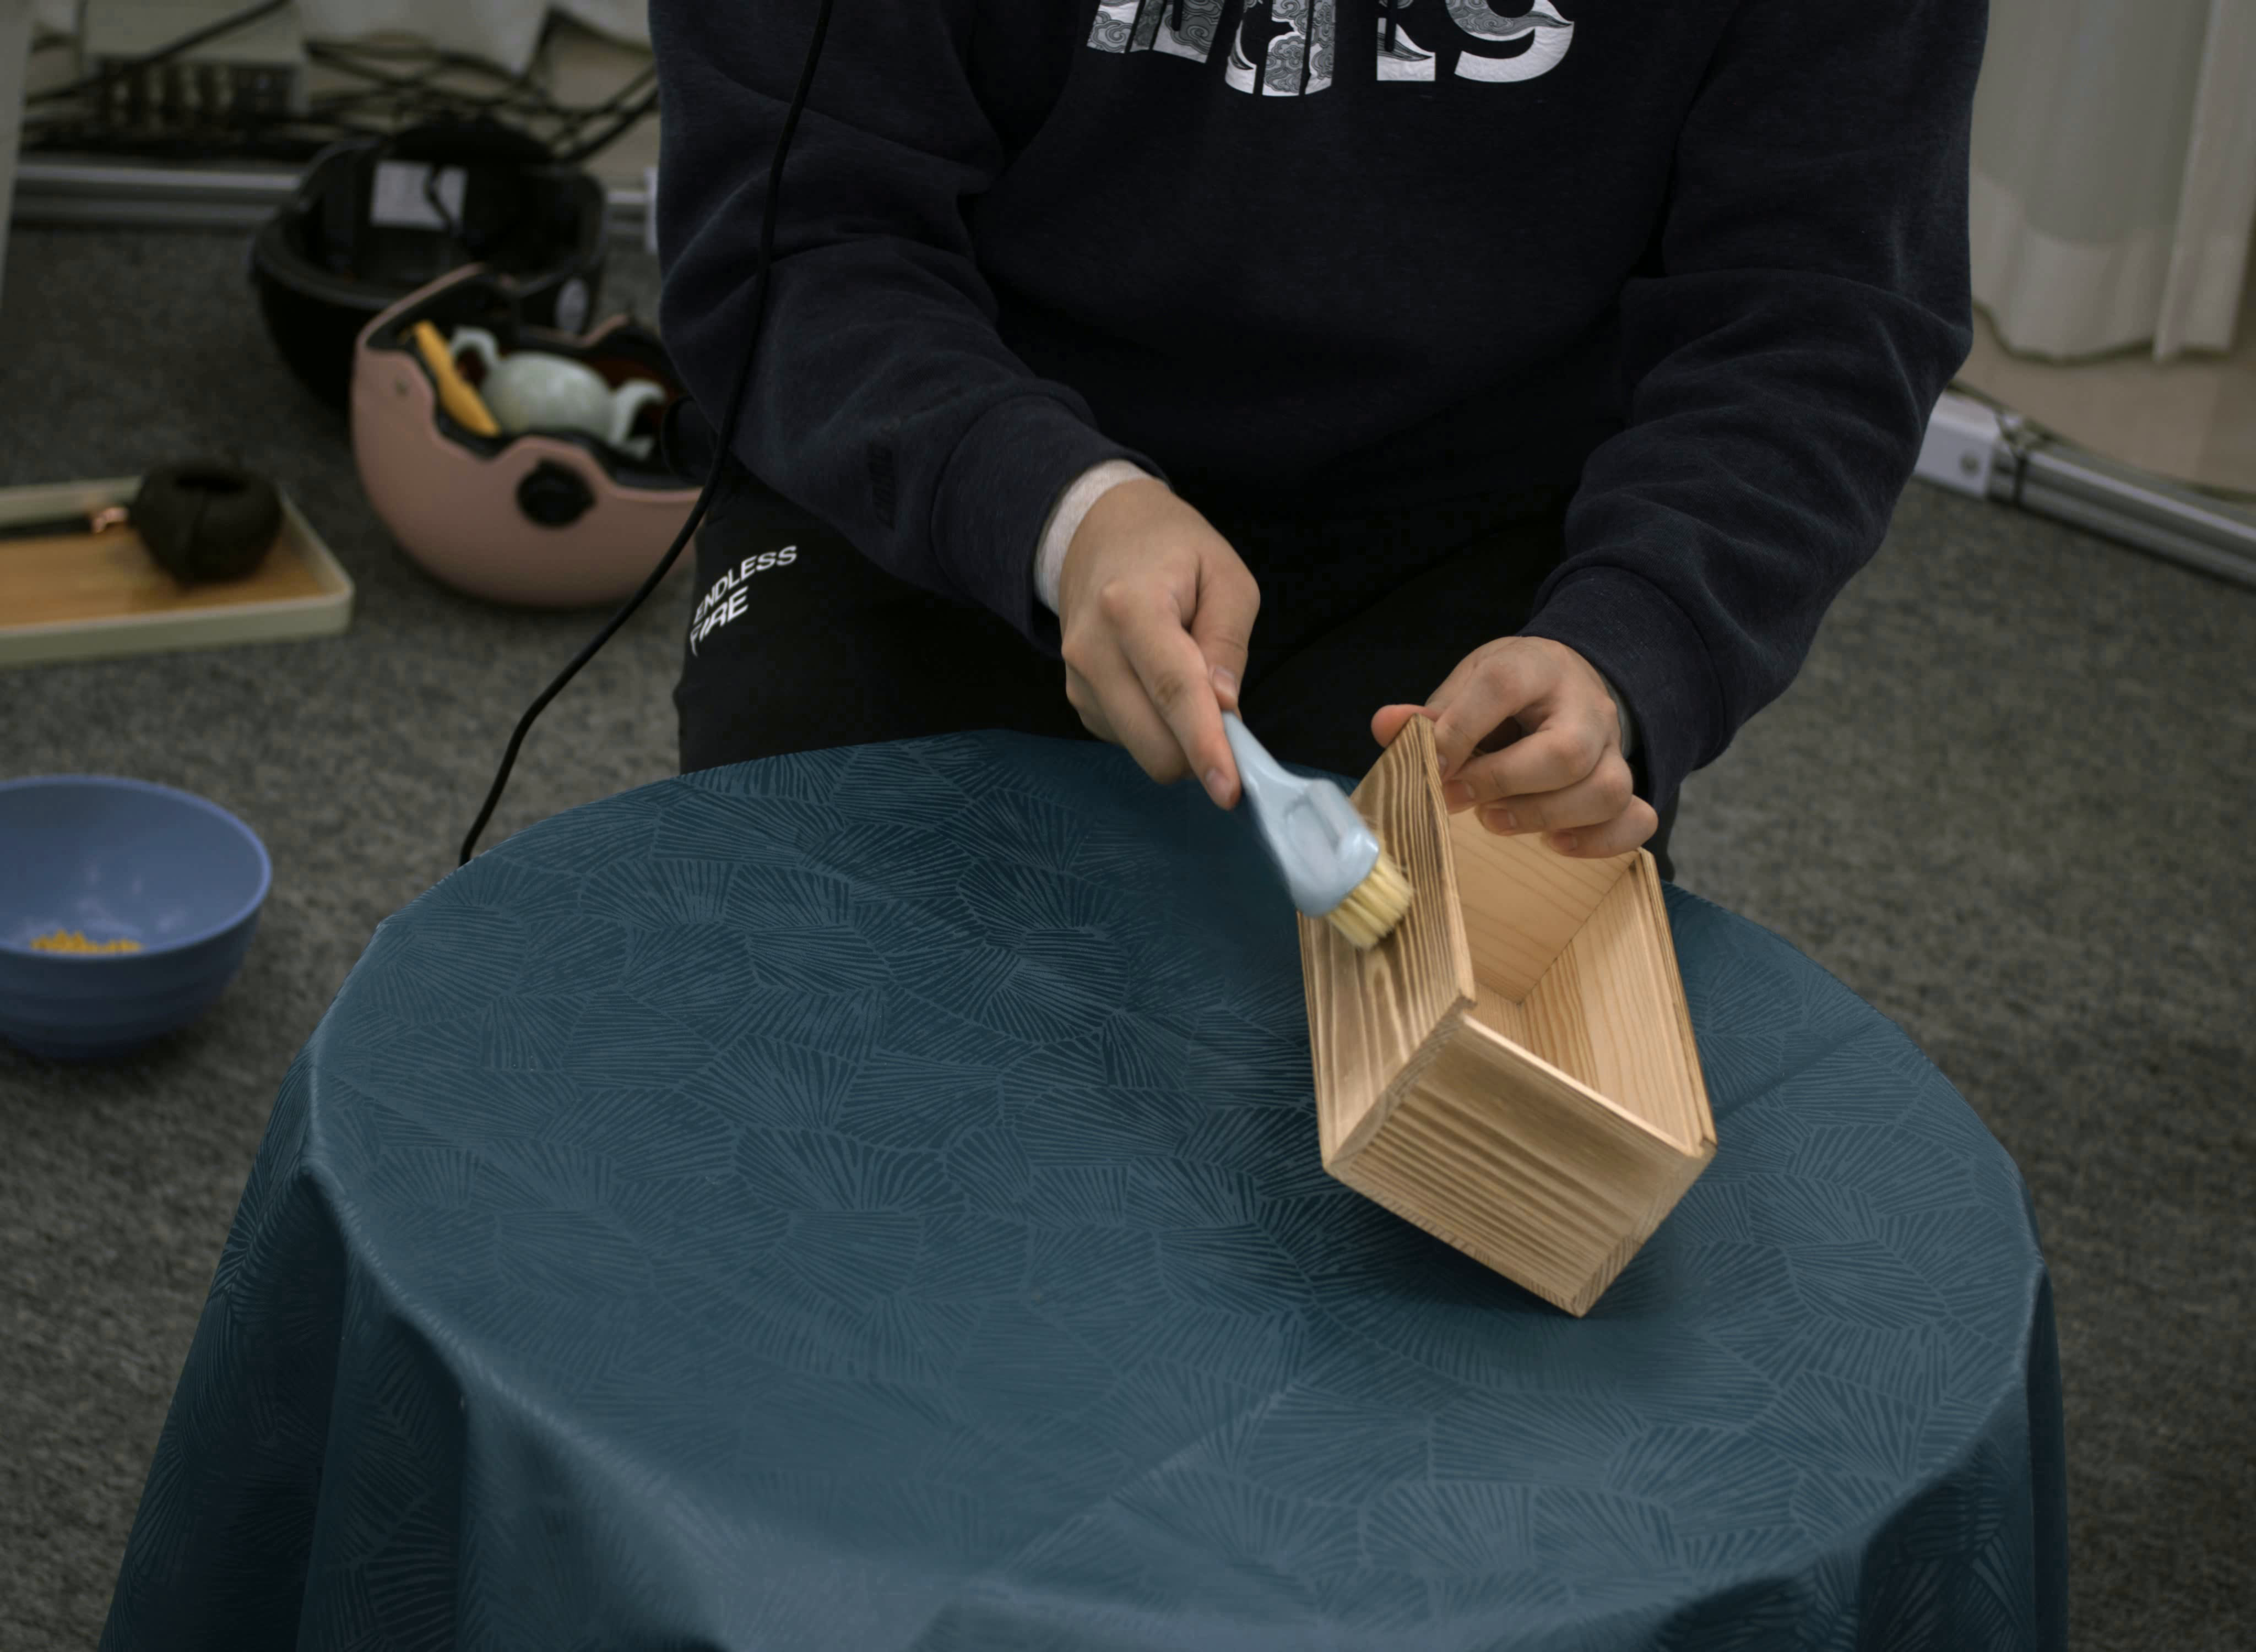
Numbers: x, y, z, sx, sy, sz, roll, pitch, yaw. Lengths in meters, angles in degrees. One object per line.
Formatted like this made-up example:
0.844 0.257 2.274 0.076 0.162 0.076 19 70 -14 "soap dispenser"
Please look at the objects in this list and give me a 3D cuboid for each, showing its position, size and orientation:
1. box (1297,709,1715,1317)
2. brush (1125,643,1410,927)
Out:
0.126 0.061 1.829 0.107 0.080 0.213 30 23 -15 "box"
0.046 -0.017 1.889 0.049 0.038 0.230 33 6 -28 "brush"
